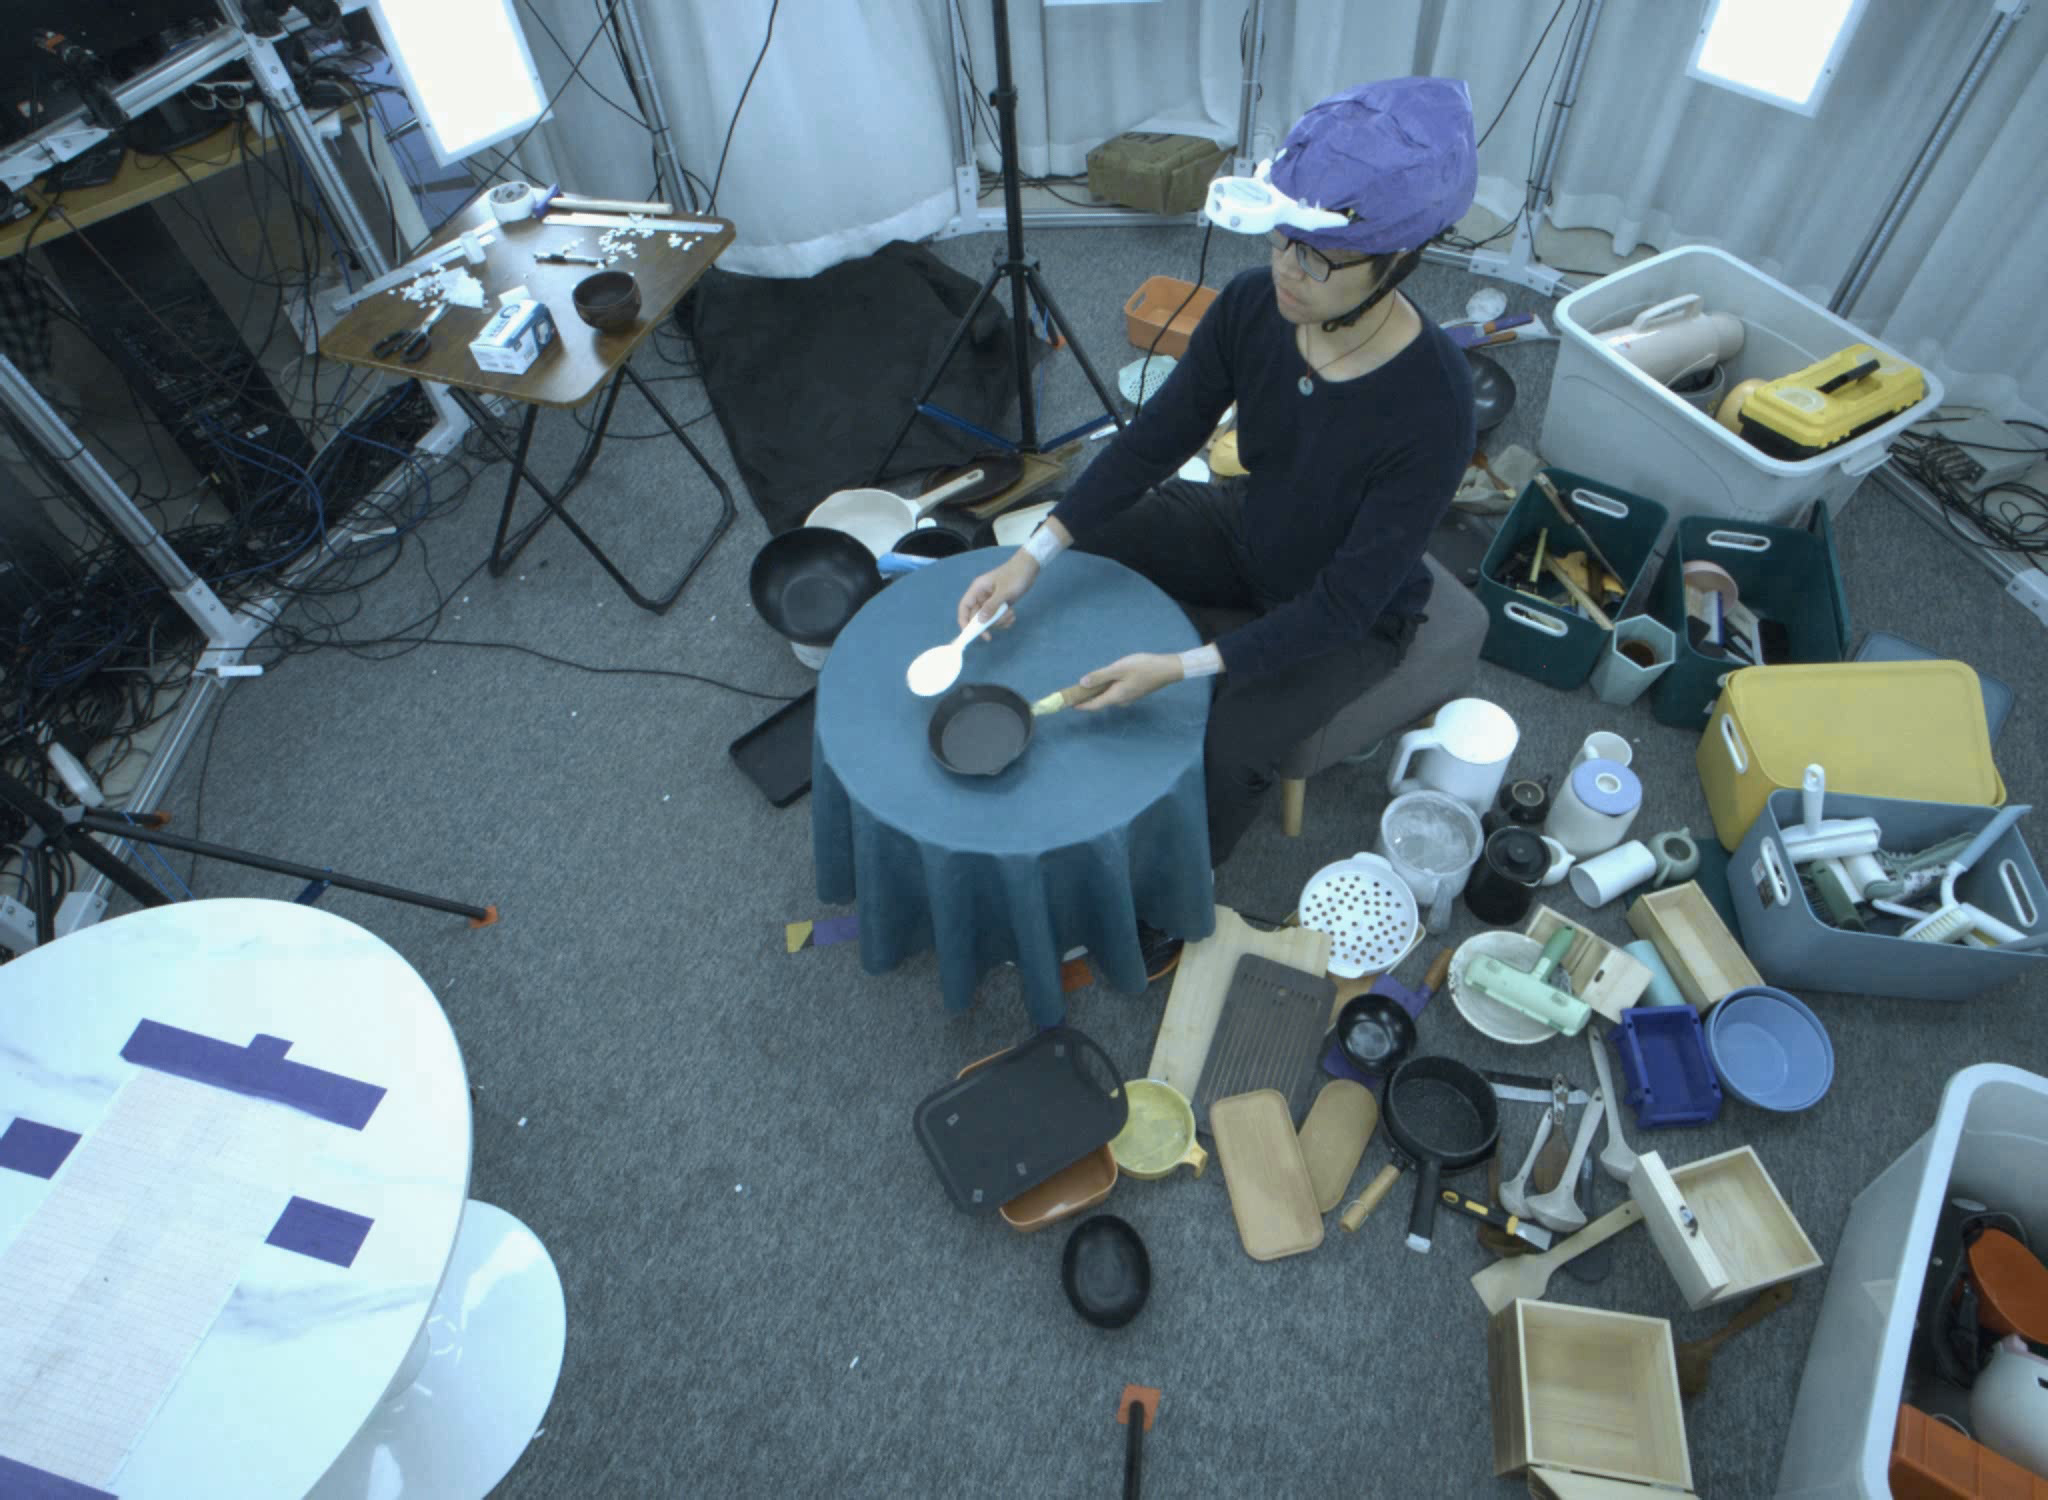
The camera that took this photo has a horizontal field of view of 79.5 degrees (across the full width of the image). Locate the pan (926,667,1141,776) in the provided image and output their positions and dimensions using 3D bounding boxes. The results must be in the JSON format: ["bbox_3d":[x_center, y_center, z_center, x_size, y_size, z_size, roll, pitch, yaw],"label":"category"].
[{"bbox_3d":[0.017,-0.055,1.776,0.324,0.050,0.166,-18,57,-1],"label":"pan"}]

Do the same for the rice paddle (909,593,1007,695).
[{"bbox_3d":[-0.097,-0.156,1.825,0.068,0.030,0.206,30,63,21],"label":"rice paddle"}]
